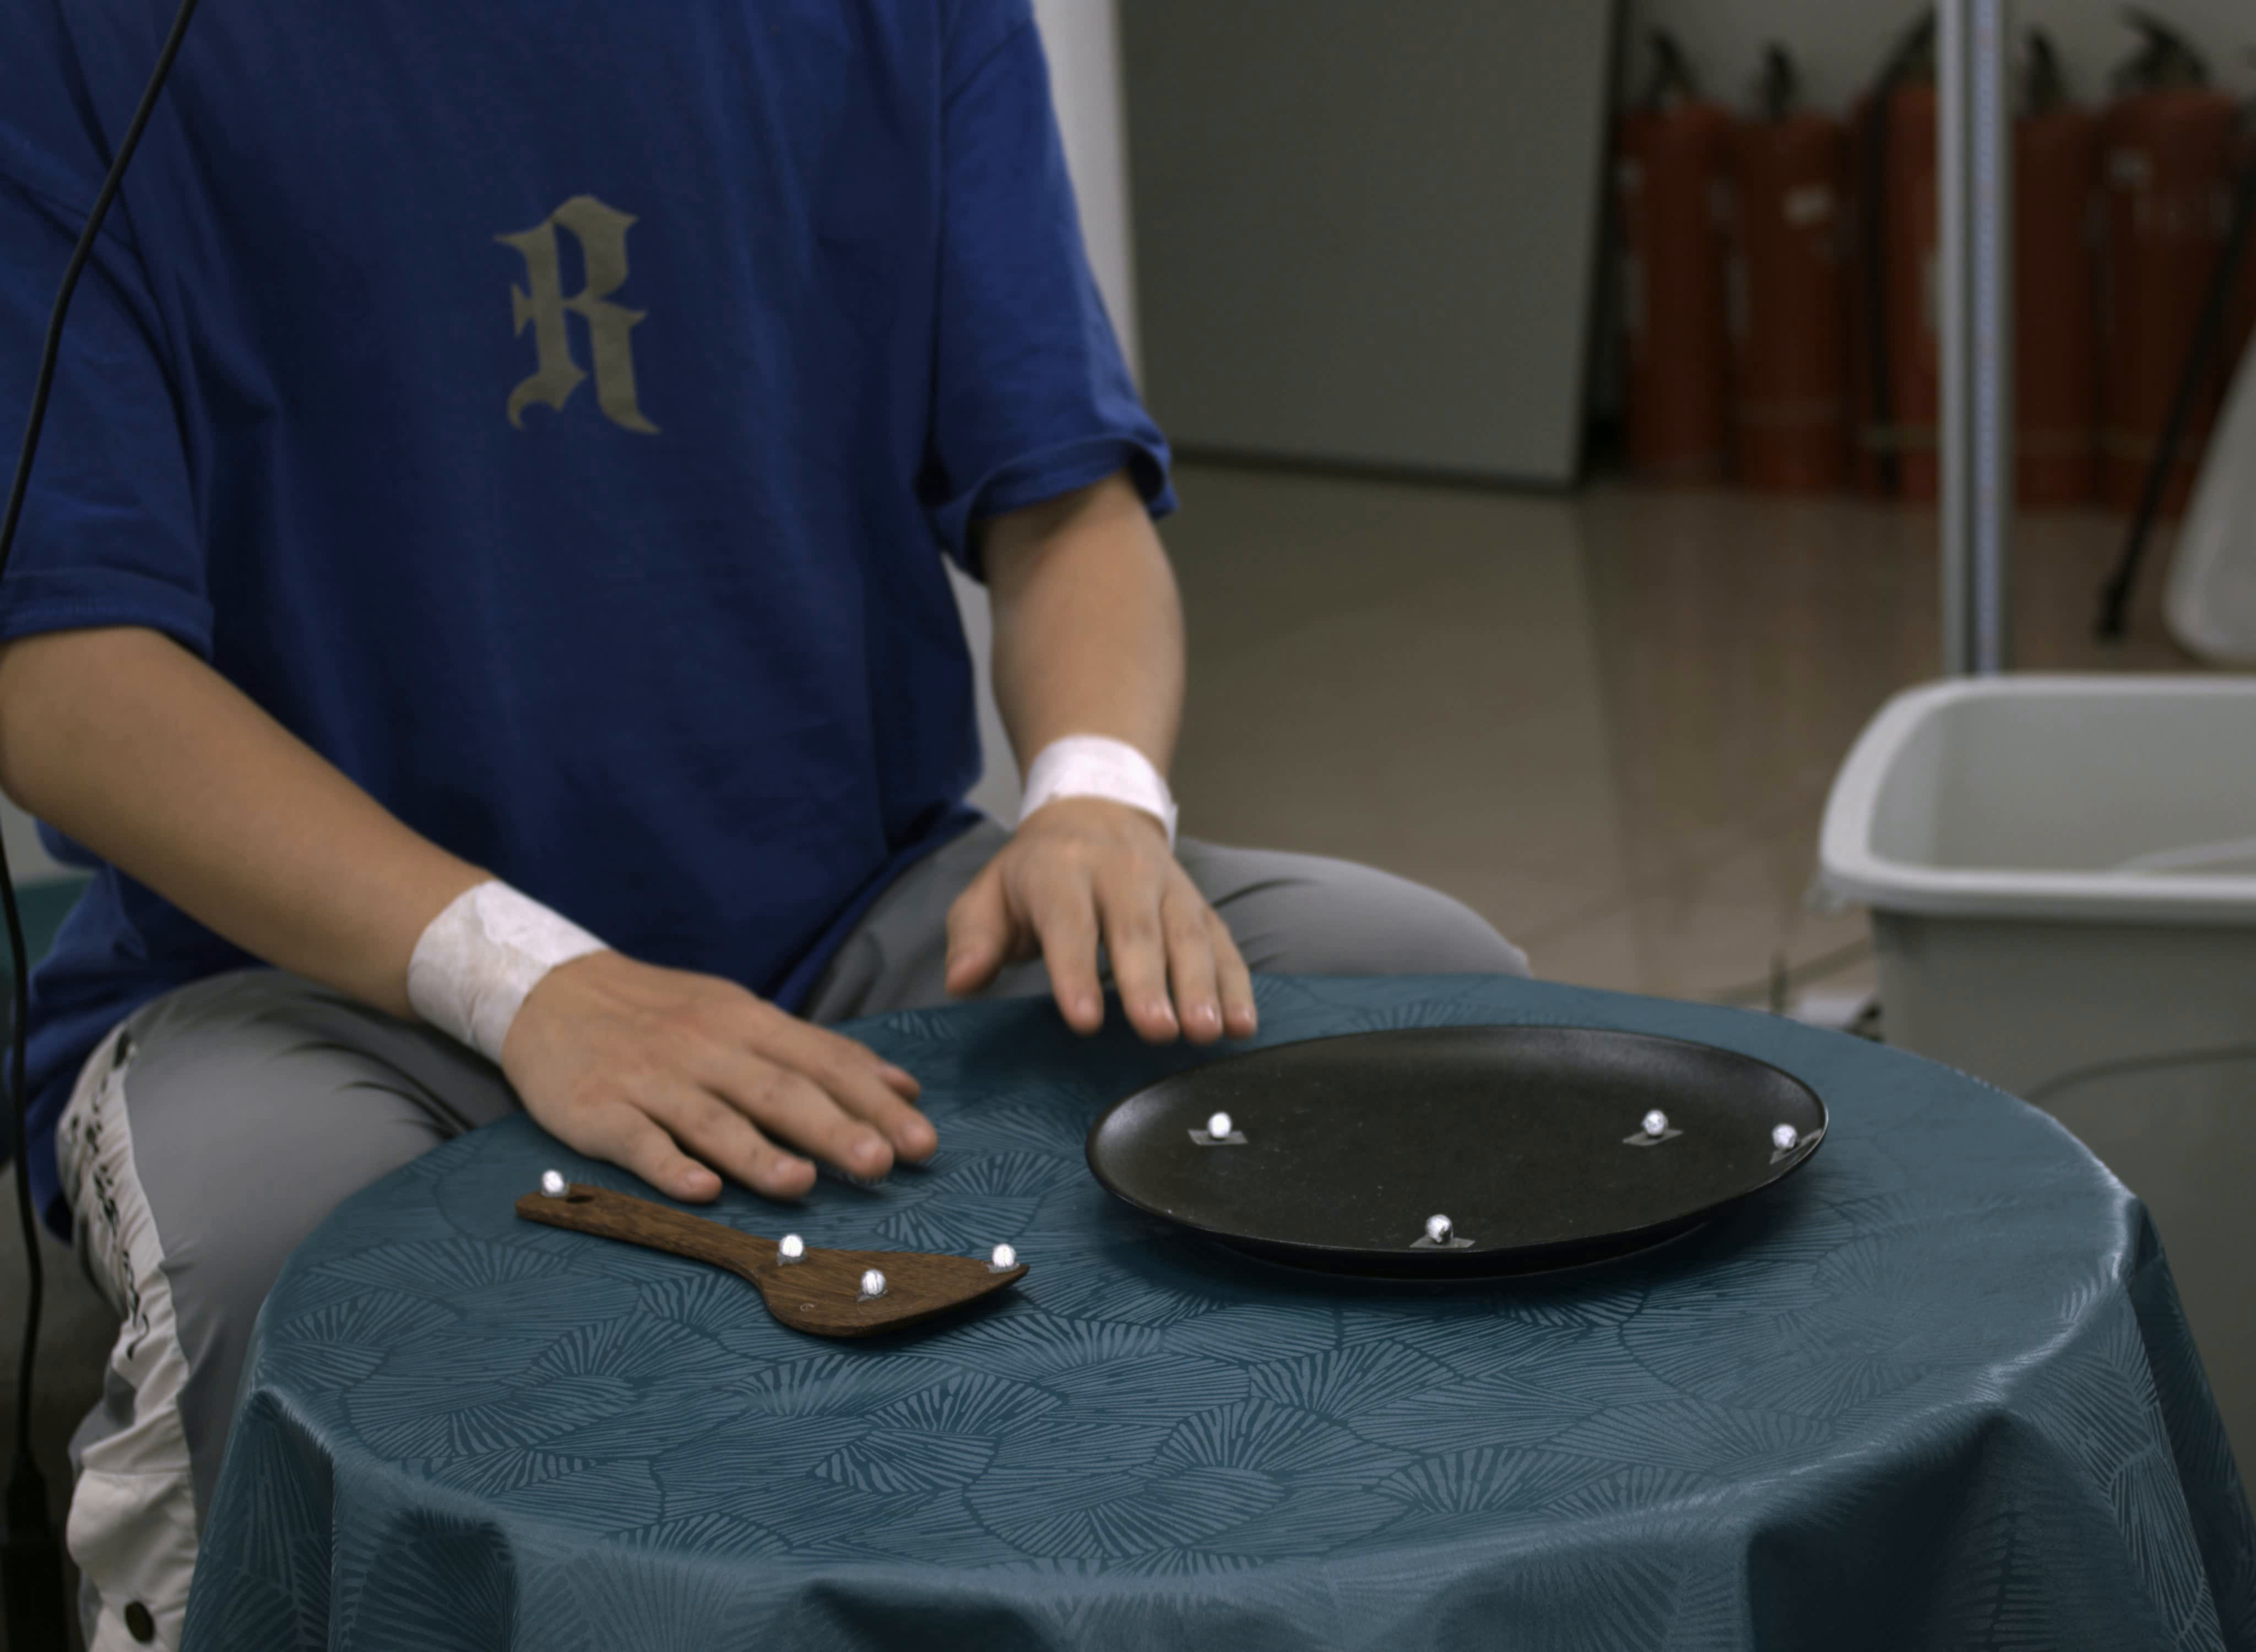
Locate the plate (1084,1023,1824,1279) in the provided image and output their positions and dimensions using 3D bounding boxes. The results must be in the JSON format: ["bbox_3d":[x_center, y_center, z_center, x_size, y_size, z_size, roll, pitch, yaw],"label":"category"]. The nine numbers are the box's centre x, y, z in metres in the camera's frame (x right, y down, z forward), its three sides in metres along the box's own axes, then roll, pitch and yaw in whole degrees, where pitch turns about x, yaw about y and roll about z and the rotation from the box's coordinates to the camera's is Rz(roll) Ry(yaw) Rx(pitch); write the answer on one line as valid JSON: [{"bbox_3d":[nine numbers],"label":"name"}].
[{"bbox_3d":[0.106,0.107,1.747,0.241,0.024,0.245,-4,14,0],"label":"plate"}]

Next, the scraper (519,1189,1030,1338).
[{"bbox_3d":[-0.122,0.137,1.724,0.074,0.011,0.213,-15,17,-41],"label":"scraper"}]
